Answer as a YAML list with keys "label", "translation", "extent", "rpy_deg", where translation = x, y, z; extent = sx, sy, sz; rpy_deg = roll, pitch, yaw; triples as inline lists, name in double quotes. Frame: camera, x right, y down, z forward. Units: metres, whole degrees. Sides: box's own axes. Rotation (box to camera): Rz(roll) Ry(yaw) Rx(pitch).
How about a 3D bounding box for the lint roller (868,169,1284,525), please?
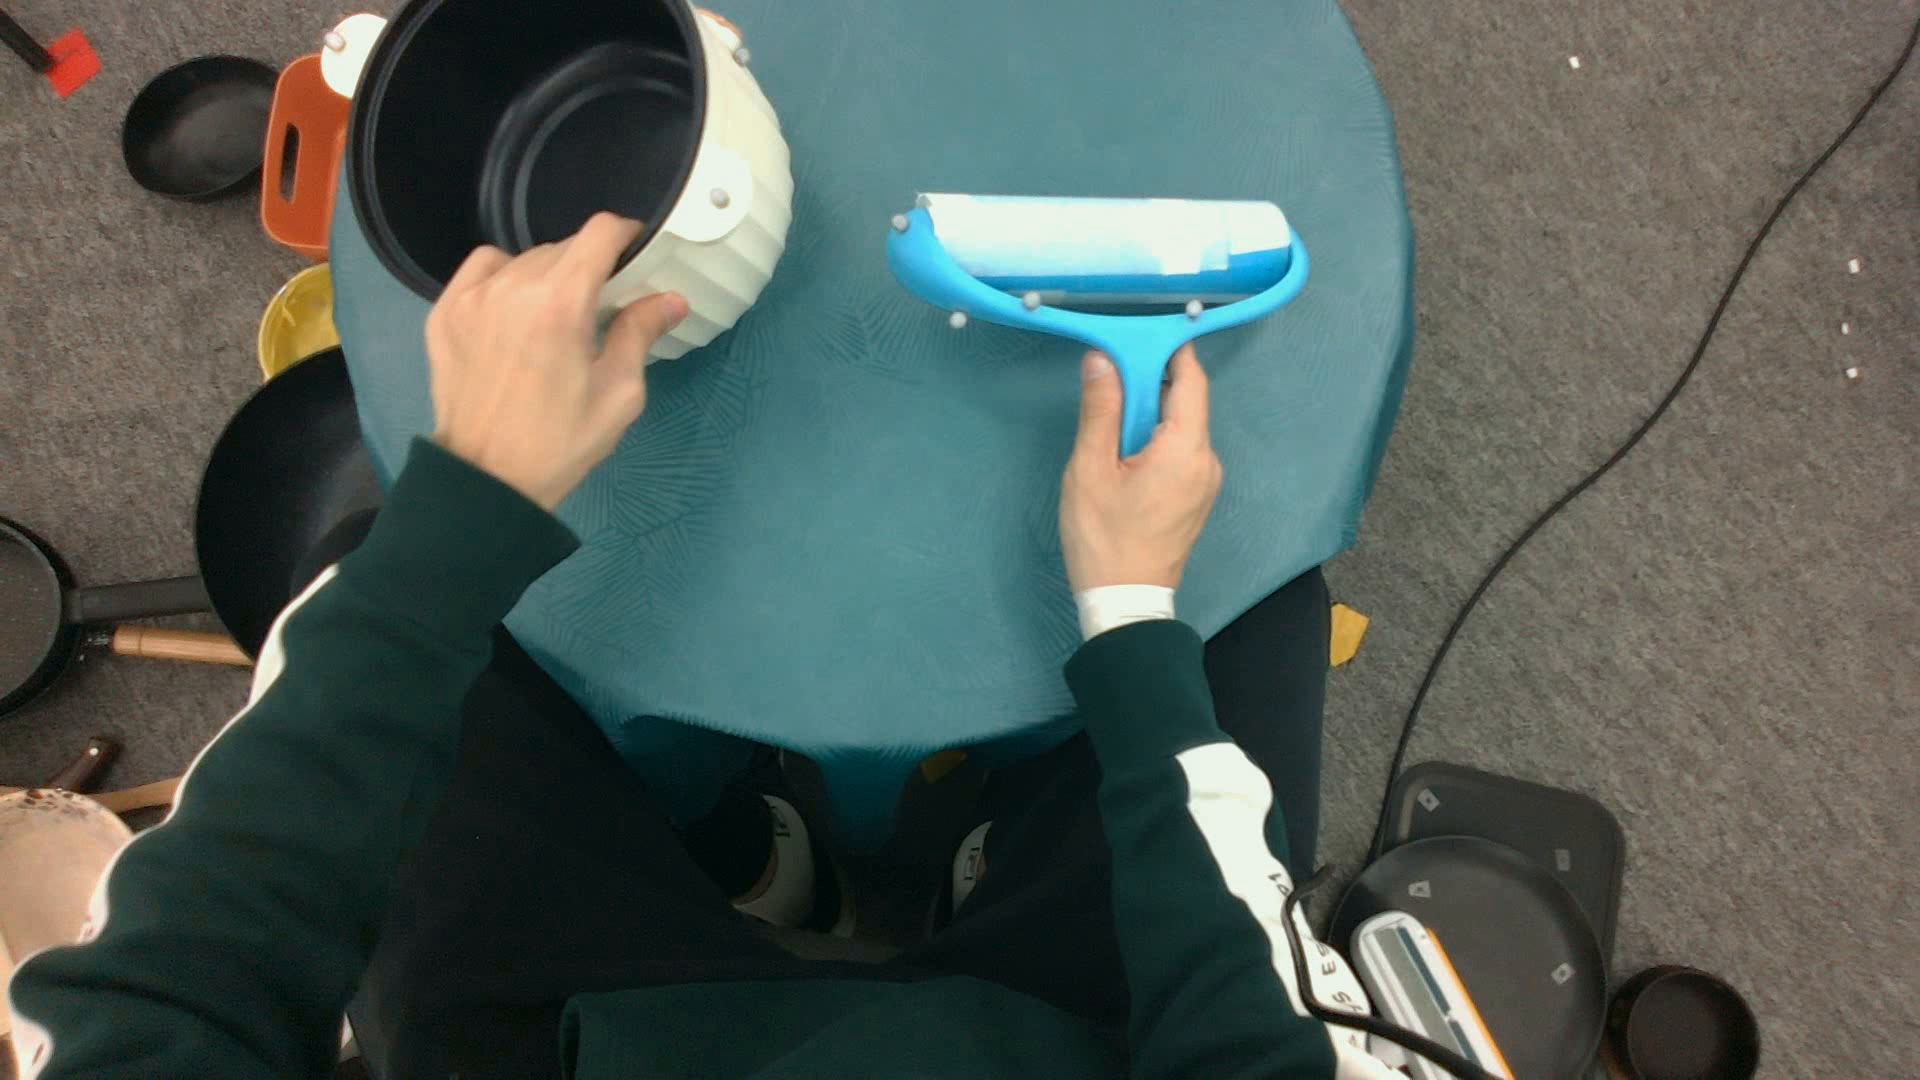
- label: "lint roller"
  translation: [0.075, -0.101, 0.696]
  extent: [0.229, 0.067, 0.180]
  rpy_deg: [-10, 85, -26]

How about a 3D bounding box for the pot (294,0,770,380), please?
- label: "pot"
  translation: [-0.187, -0.180, 0.666]
  extent: [0.240, 0.143, 0.190]
  rpy_deg: [25, 96, 19]
